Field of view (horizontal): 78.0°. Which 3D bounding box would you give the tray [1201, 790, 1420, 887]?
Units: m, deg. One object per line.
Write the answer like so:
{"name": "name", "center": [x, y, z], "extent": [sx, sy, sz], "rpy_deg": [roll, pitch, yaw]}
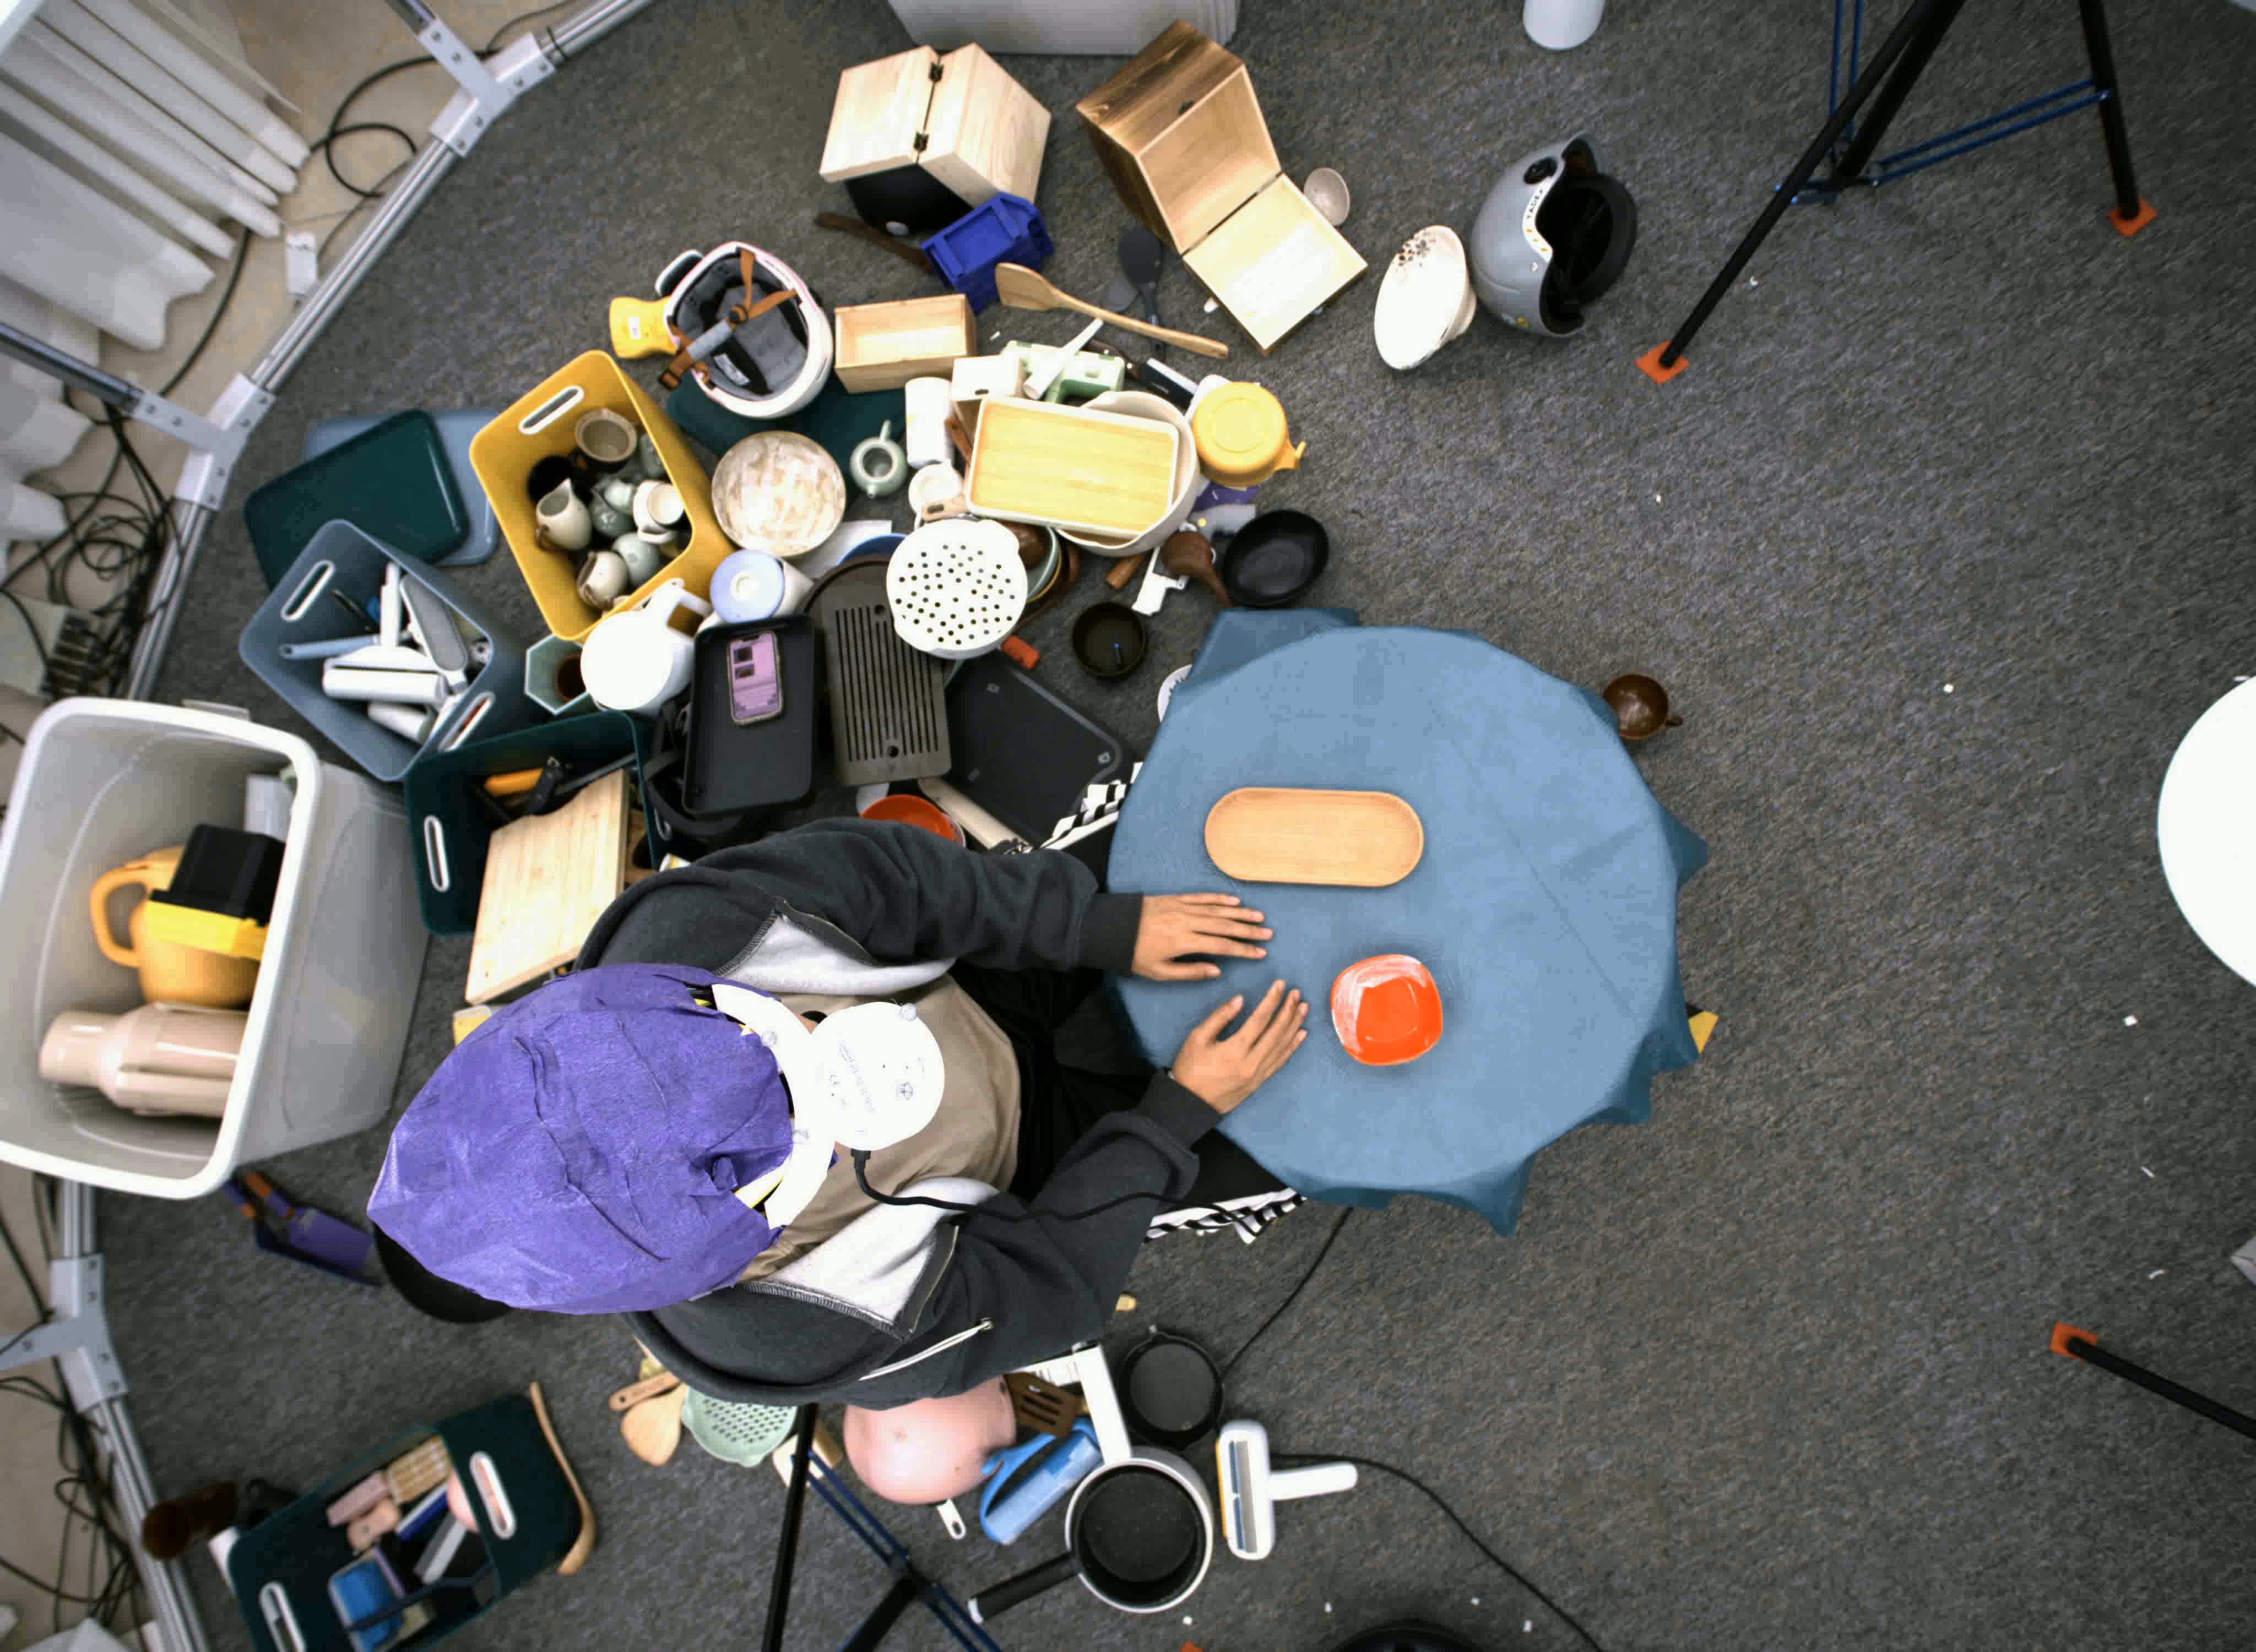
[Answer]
{"name": "tray", "center": [0.193, 0.012, 1.468], "extent": [0.232, 0.020, 0.101], "rpy_deg": [1, 86, 11]}

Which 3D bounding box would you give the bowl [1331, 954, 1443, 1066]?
{"name": "bowl", "center": [0.265, 0.188, 1.426], "extent": [0.119, 0.051, 0.118], "rpy_deg": [-1, 87, 9]}
